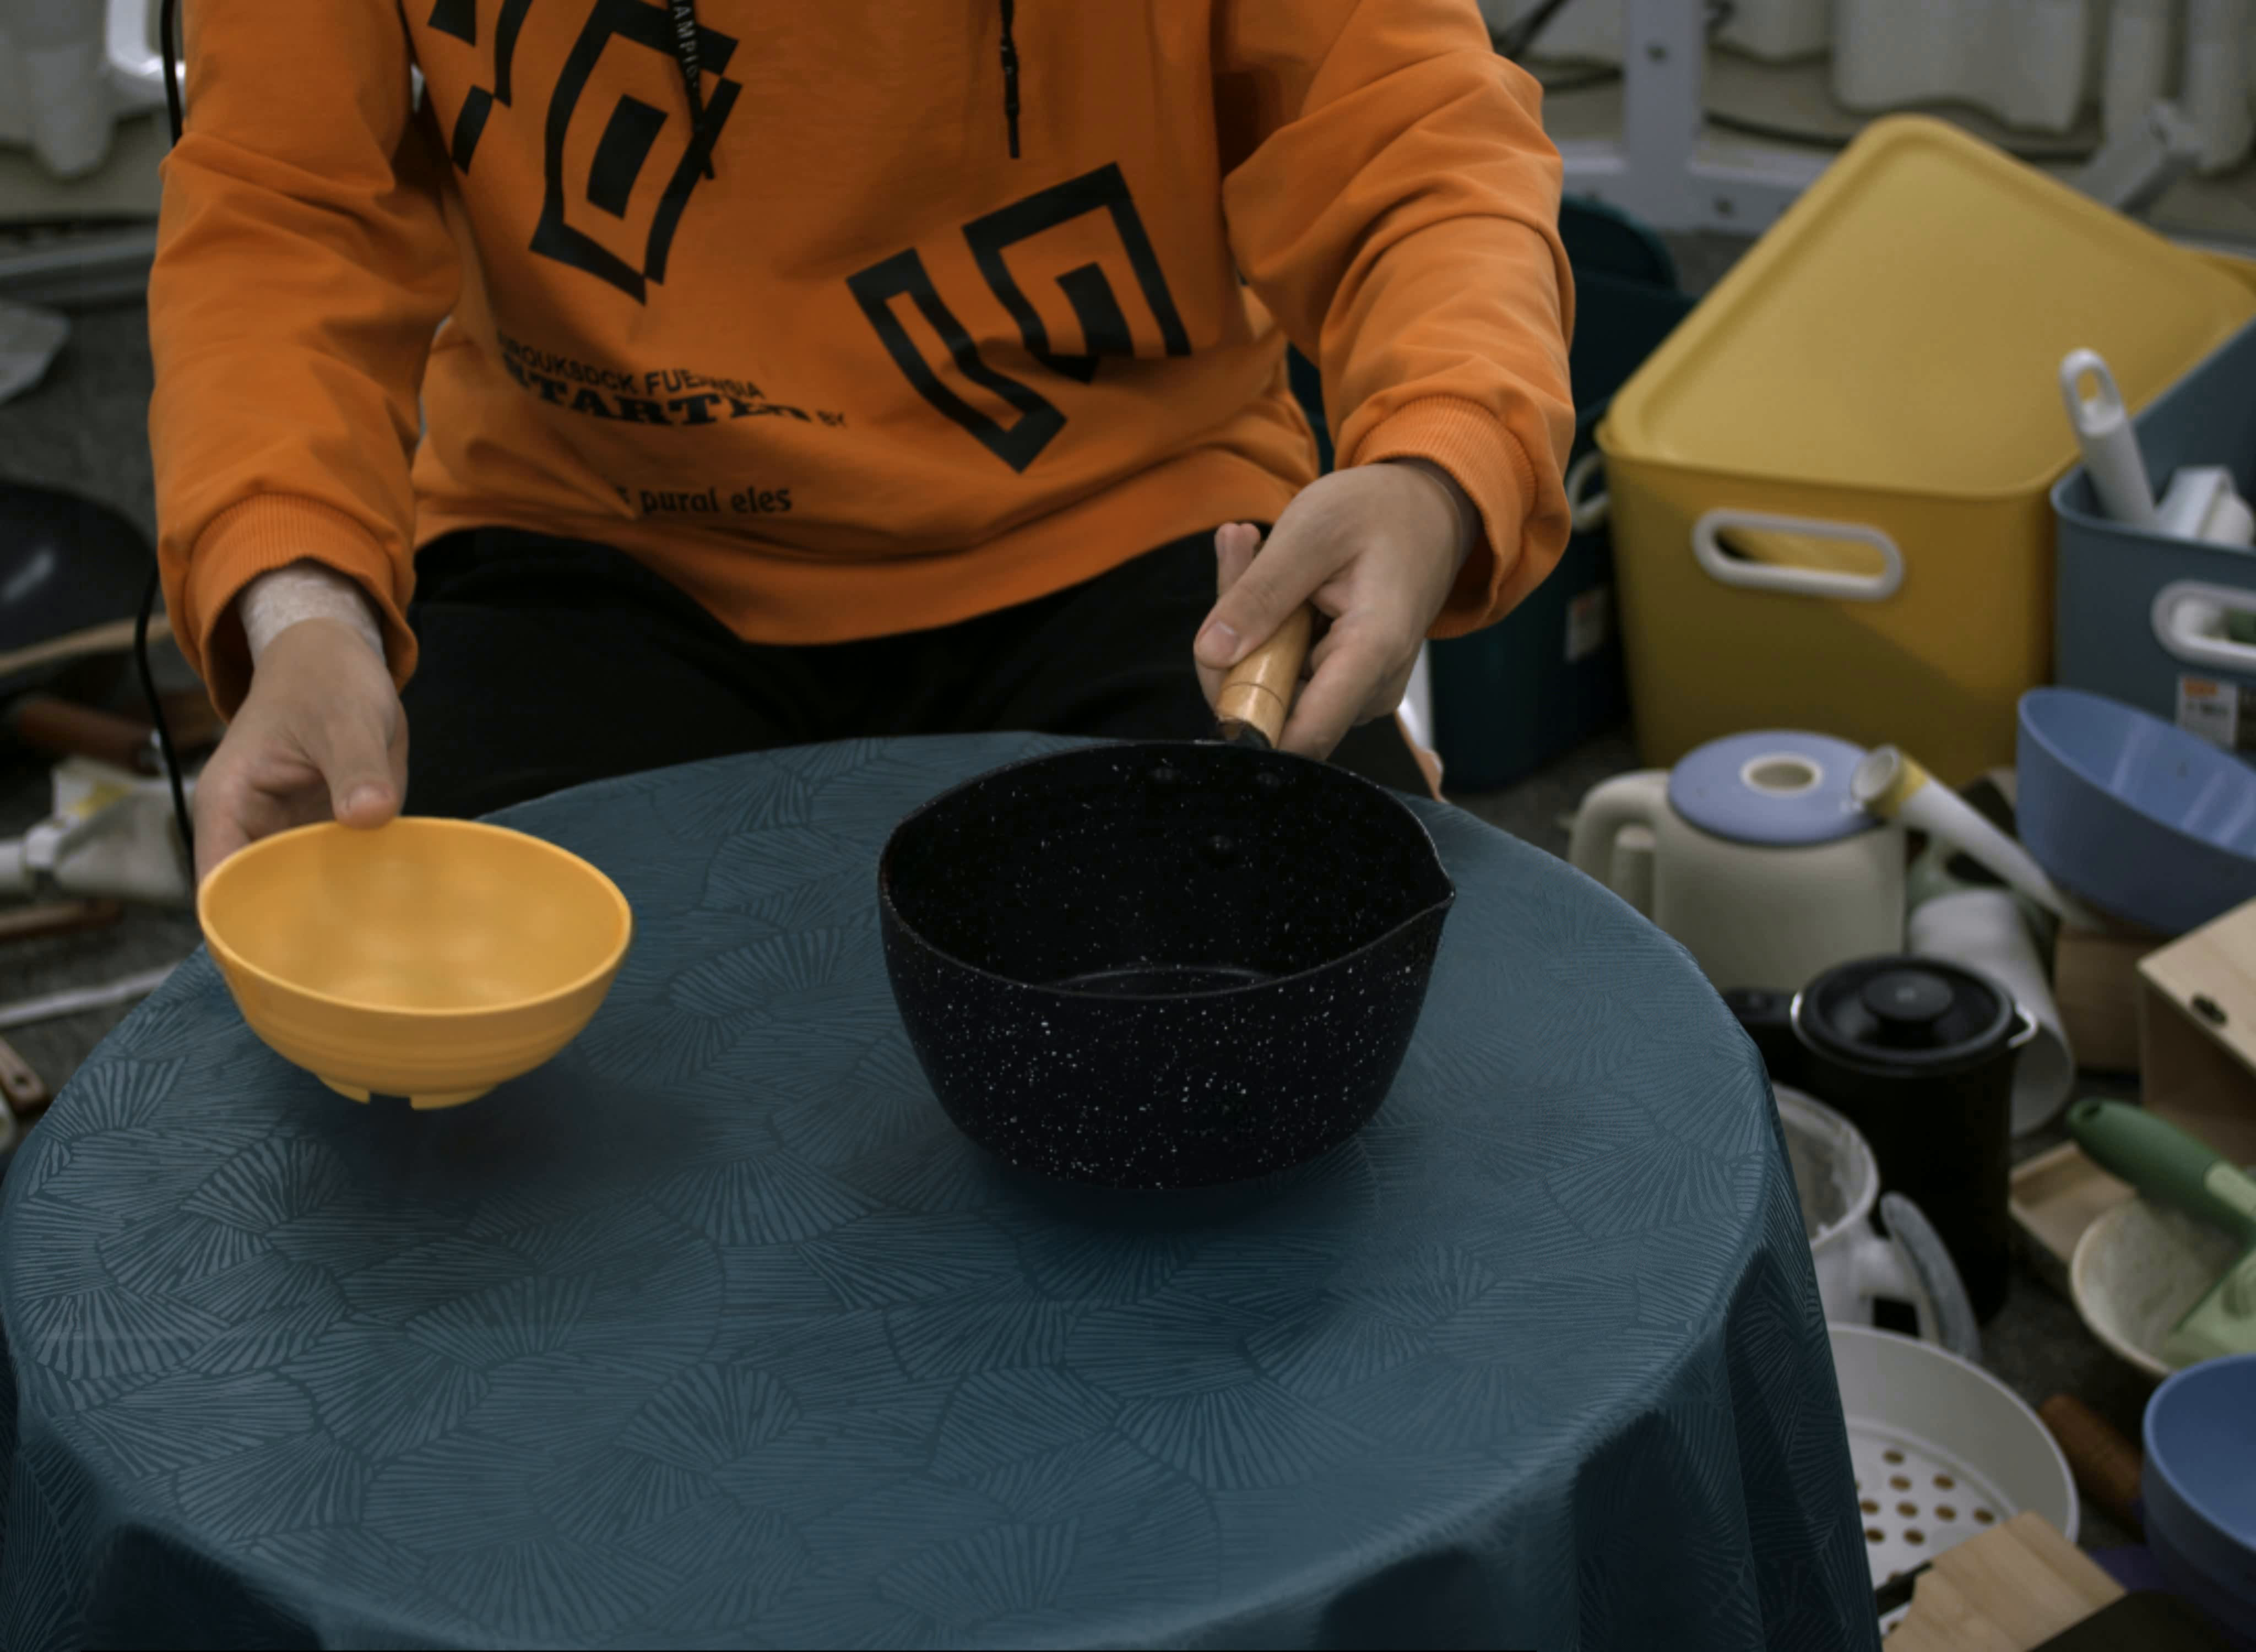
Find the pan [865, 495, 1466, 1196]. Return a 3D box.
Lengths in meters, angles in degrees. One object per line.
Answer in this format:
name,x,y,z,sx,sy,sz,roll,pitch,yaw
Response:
pan,0.028,0.003,1.935,0.206,0.107,0.349,3,28,12

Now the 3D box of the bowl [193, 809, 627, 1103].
bowl,-0.242,0.053,1.884,0.145,0.059,0.147,7,24,-3
